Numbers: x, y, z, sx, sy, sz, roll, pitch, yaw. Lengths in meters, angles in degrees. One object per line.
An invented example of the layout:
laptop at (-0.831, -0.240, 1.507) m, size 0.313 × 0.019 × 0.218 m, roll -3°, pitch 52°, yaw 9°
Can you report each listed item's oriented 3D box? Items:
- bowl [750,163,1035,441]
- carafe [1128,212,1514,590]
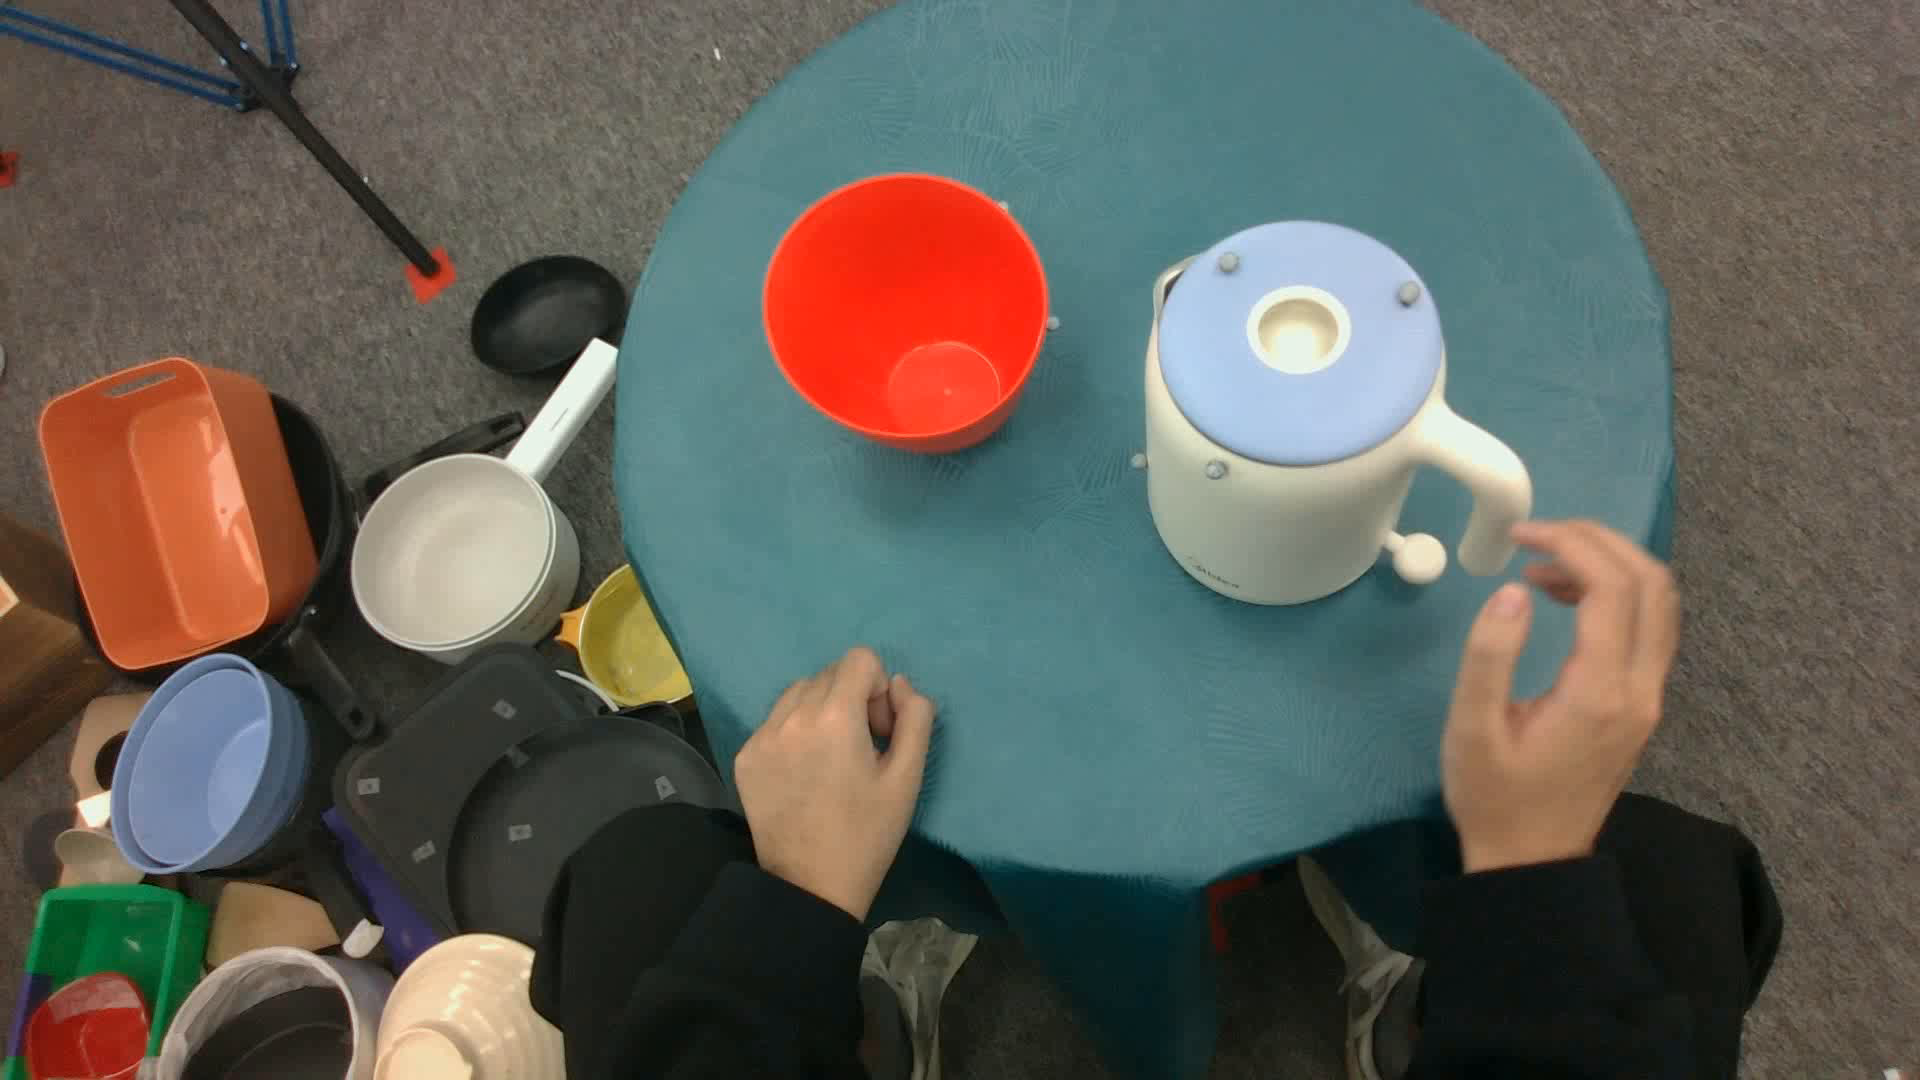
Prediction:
bowl at (-0.030, -0.115, 0.751) m, size 0.148 × 0.104 × 0.148 m, roll -3°, pitch 68°, yaw 6°
carafe at (0.169, -0.050, 0.662) m, size 0.191 × 0.182 × 0.132 m, roll 29°, pitch 76°, yaw 14°
